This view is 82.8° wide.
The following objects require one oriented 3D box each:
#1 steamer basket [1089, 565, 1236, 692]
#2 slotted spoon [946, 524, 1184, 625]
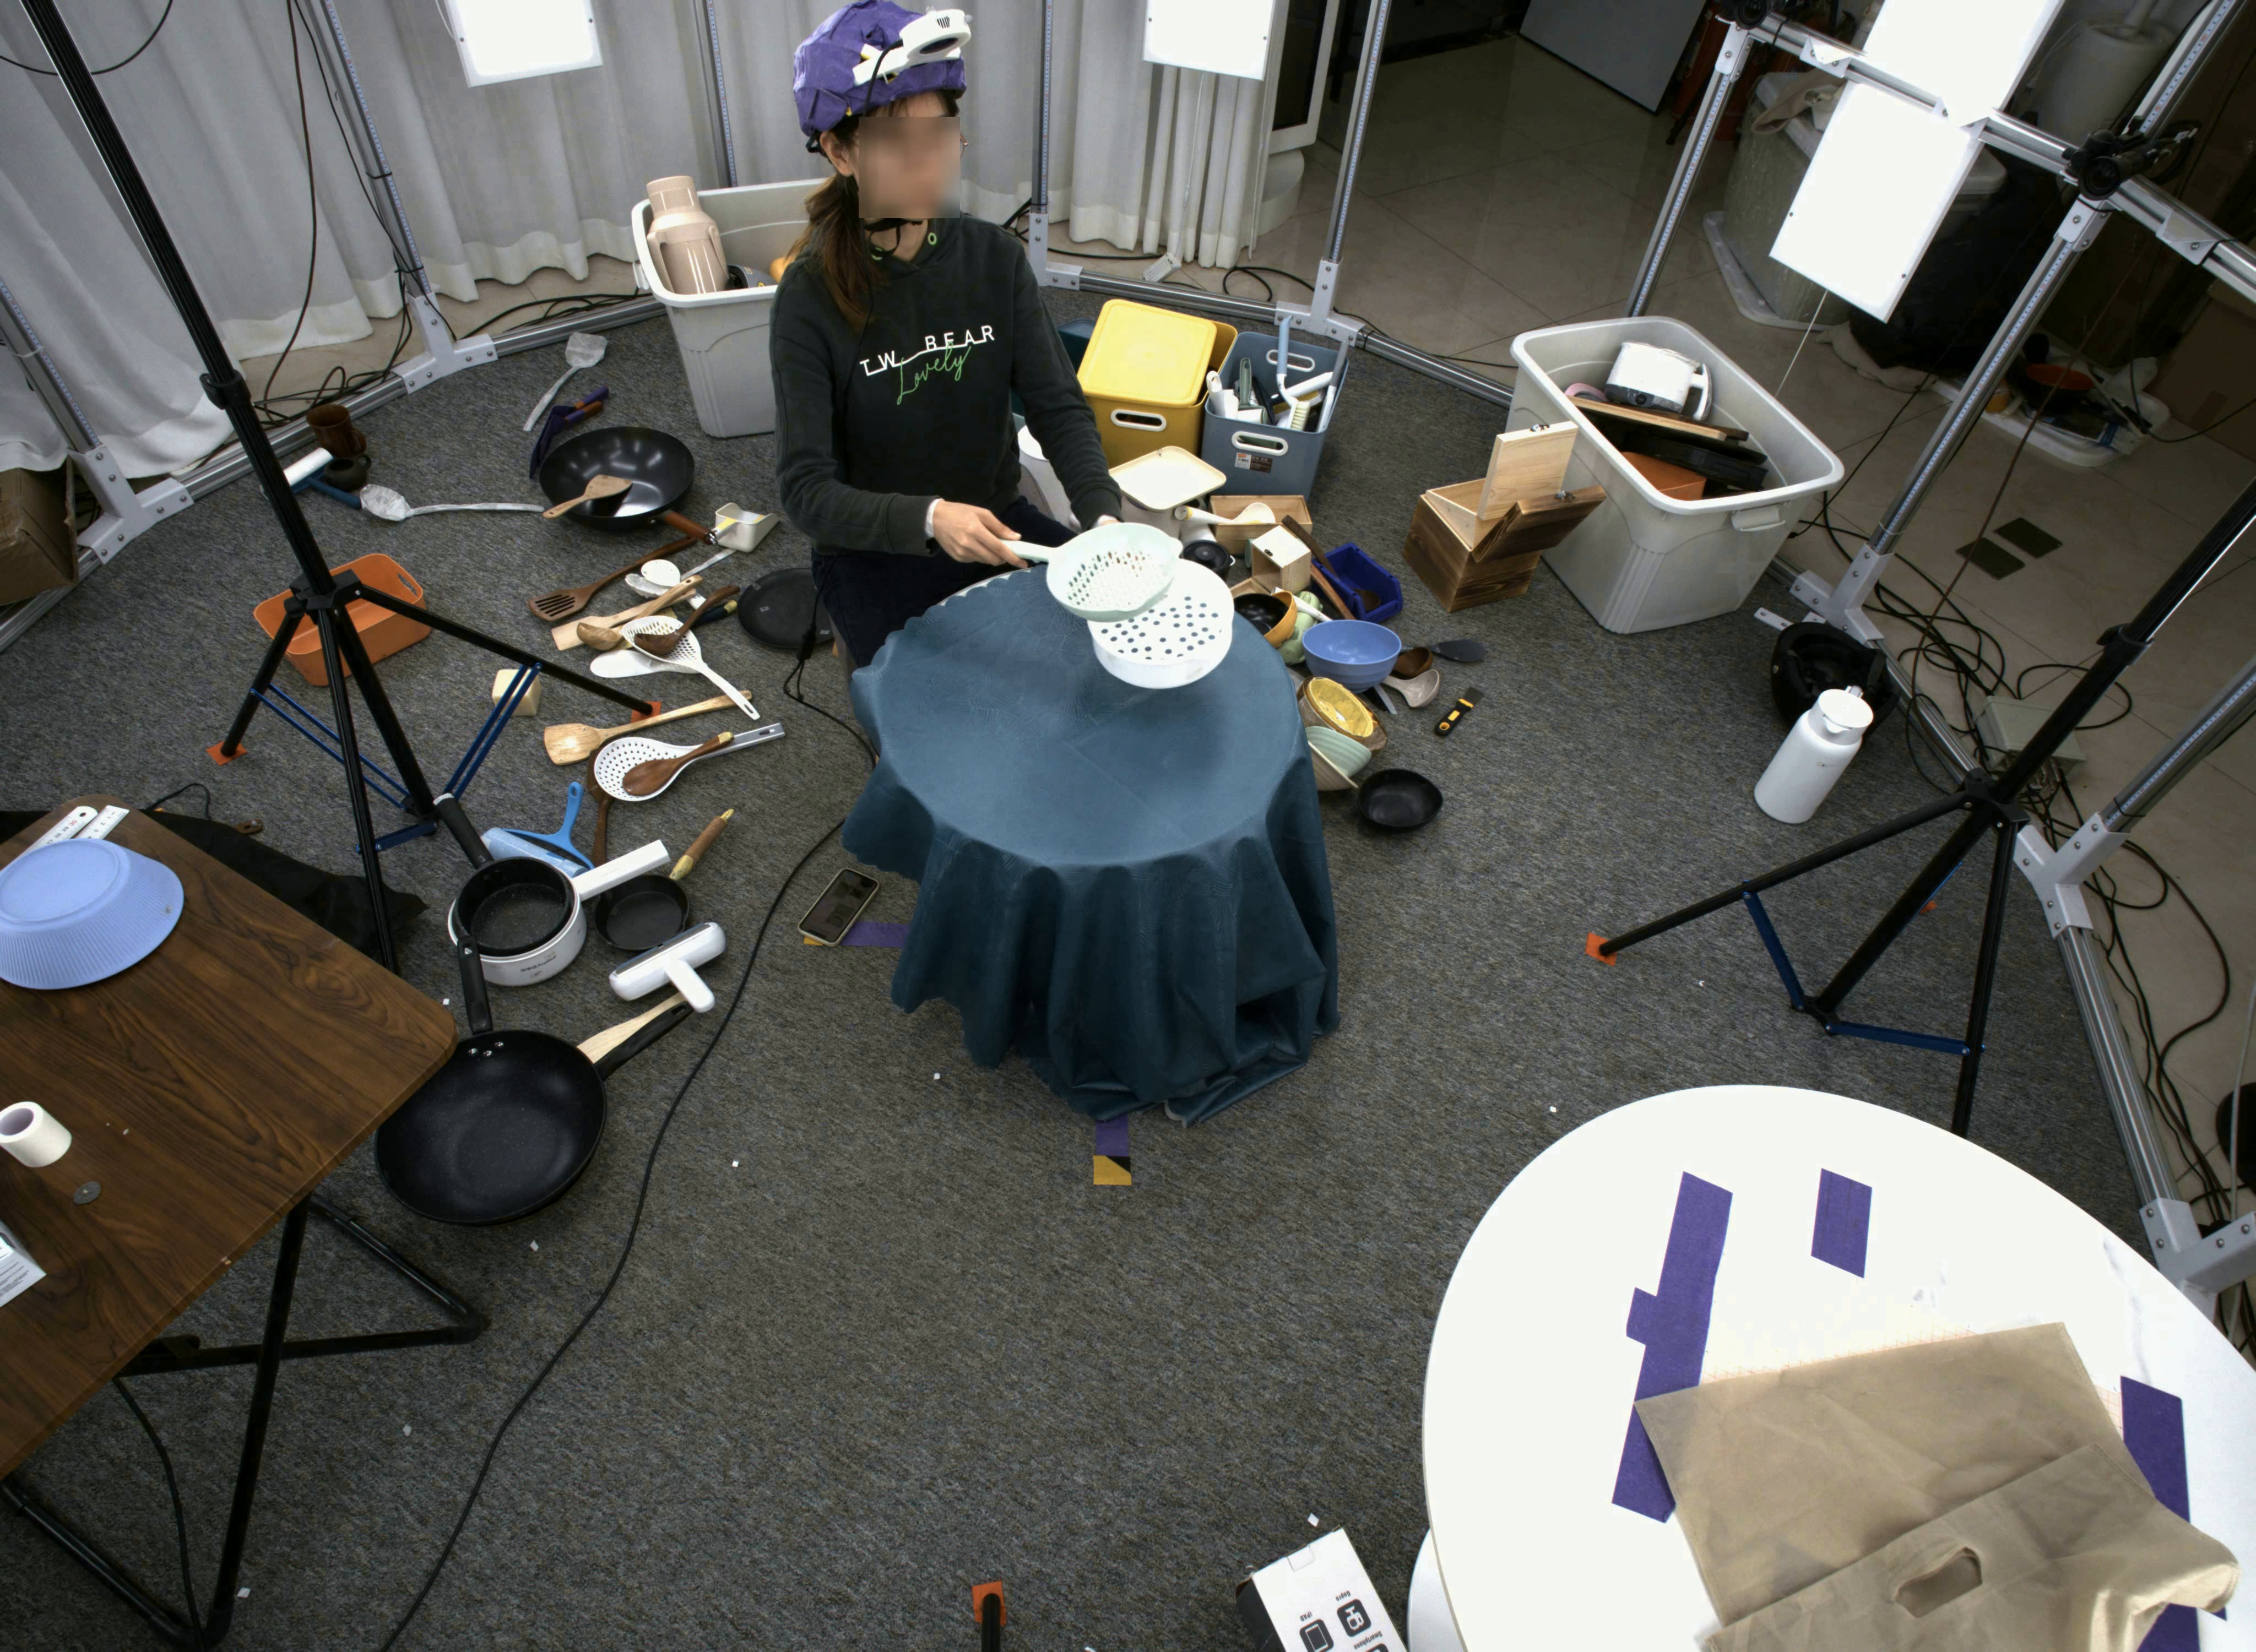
[{"bbox_3d":[0.049,-0.274,1.785,0.234,0.067,0.204,35,63,28],"label":"steamer basket"},{"bbox_3d":[-0.098,-0.351,1.709,0.362,0.073,0.172,22,58,20],"label":"slotted spoon"}]
